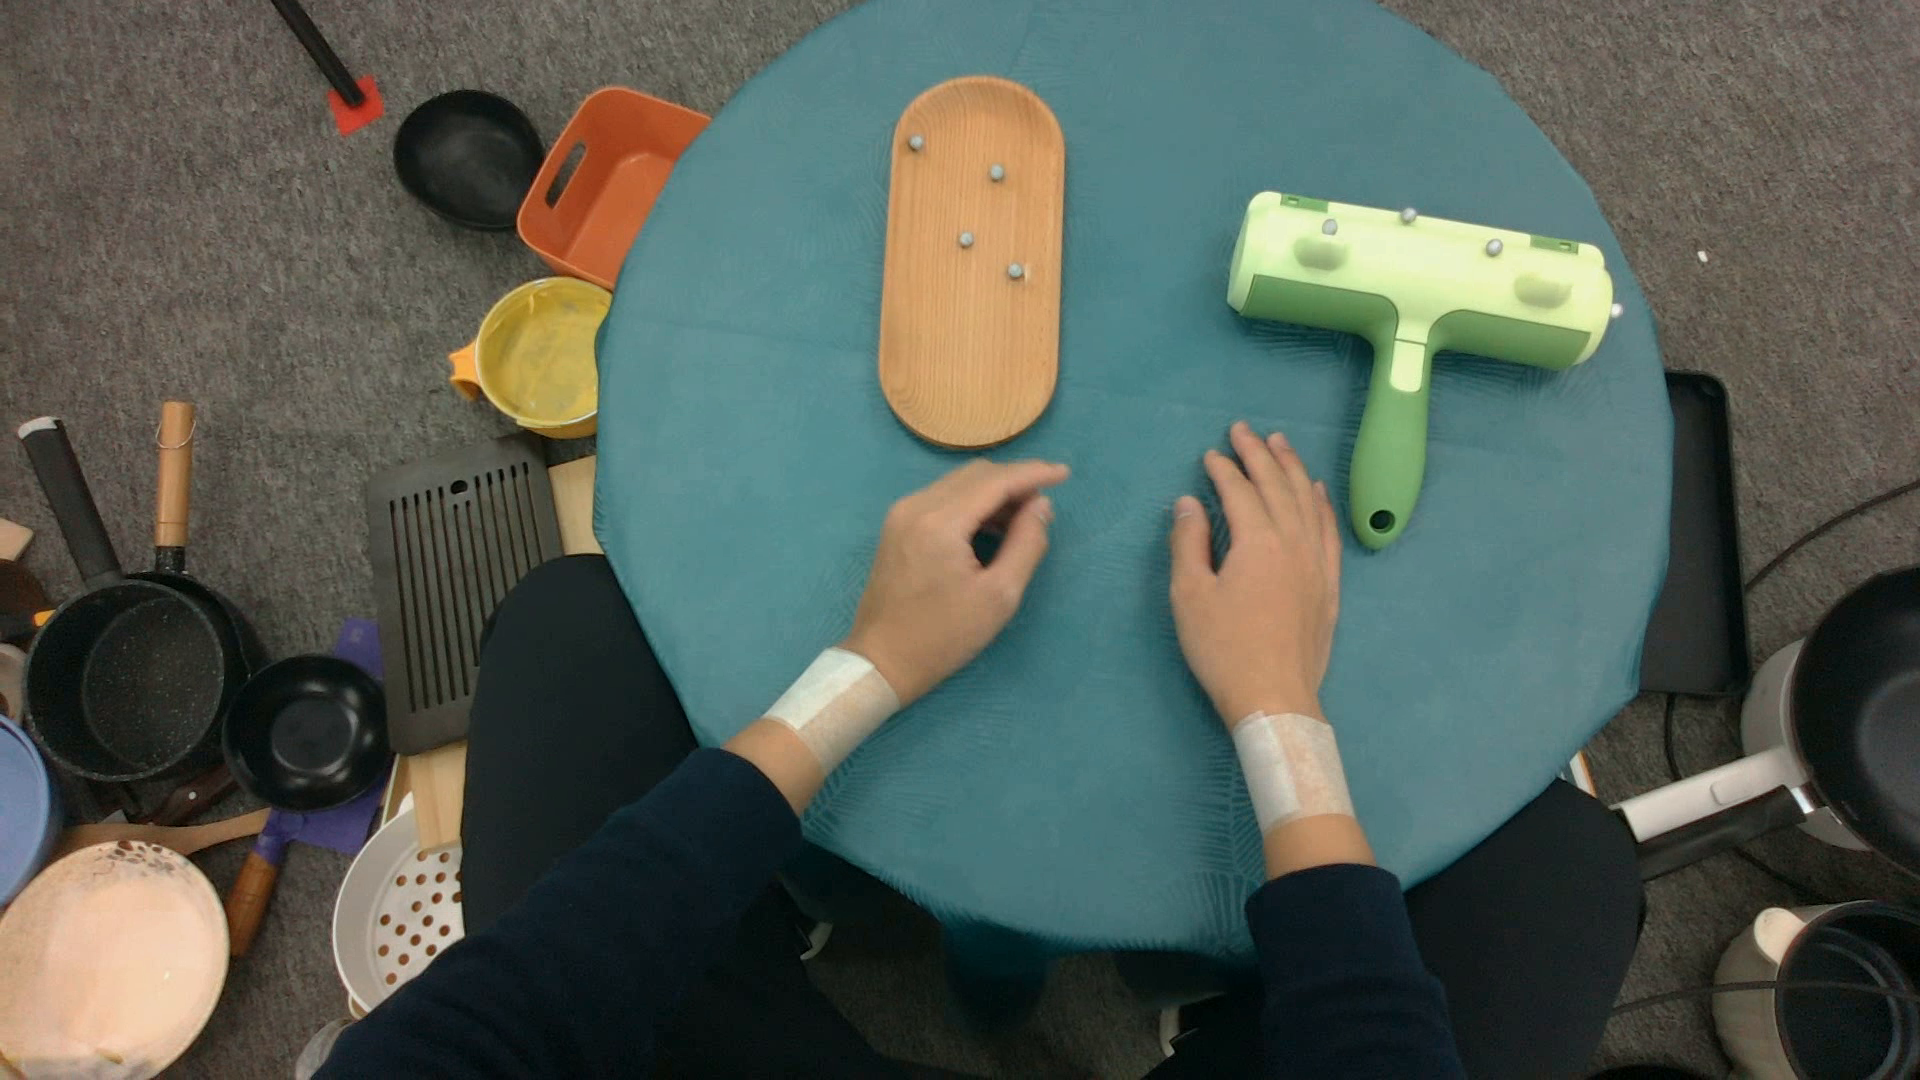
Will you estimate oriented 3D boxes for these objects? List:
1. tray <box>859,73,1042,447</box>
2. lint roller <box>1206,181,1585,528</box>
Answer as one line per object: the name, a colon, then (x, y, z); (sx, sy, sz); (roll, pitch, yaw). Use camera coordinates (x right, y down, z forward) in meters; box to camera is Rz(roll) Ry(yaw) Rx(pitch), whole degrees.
tray: (-0.005, -0.162, 0.782); (0.101, 0.020, 0.231); (0, 75, 0)
lint roller: (0.228, -0.102, 0.729); (0.198, 0.082, 0.184); (8, 68, 3)
